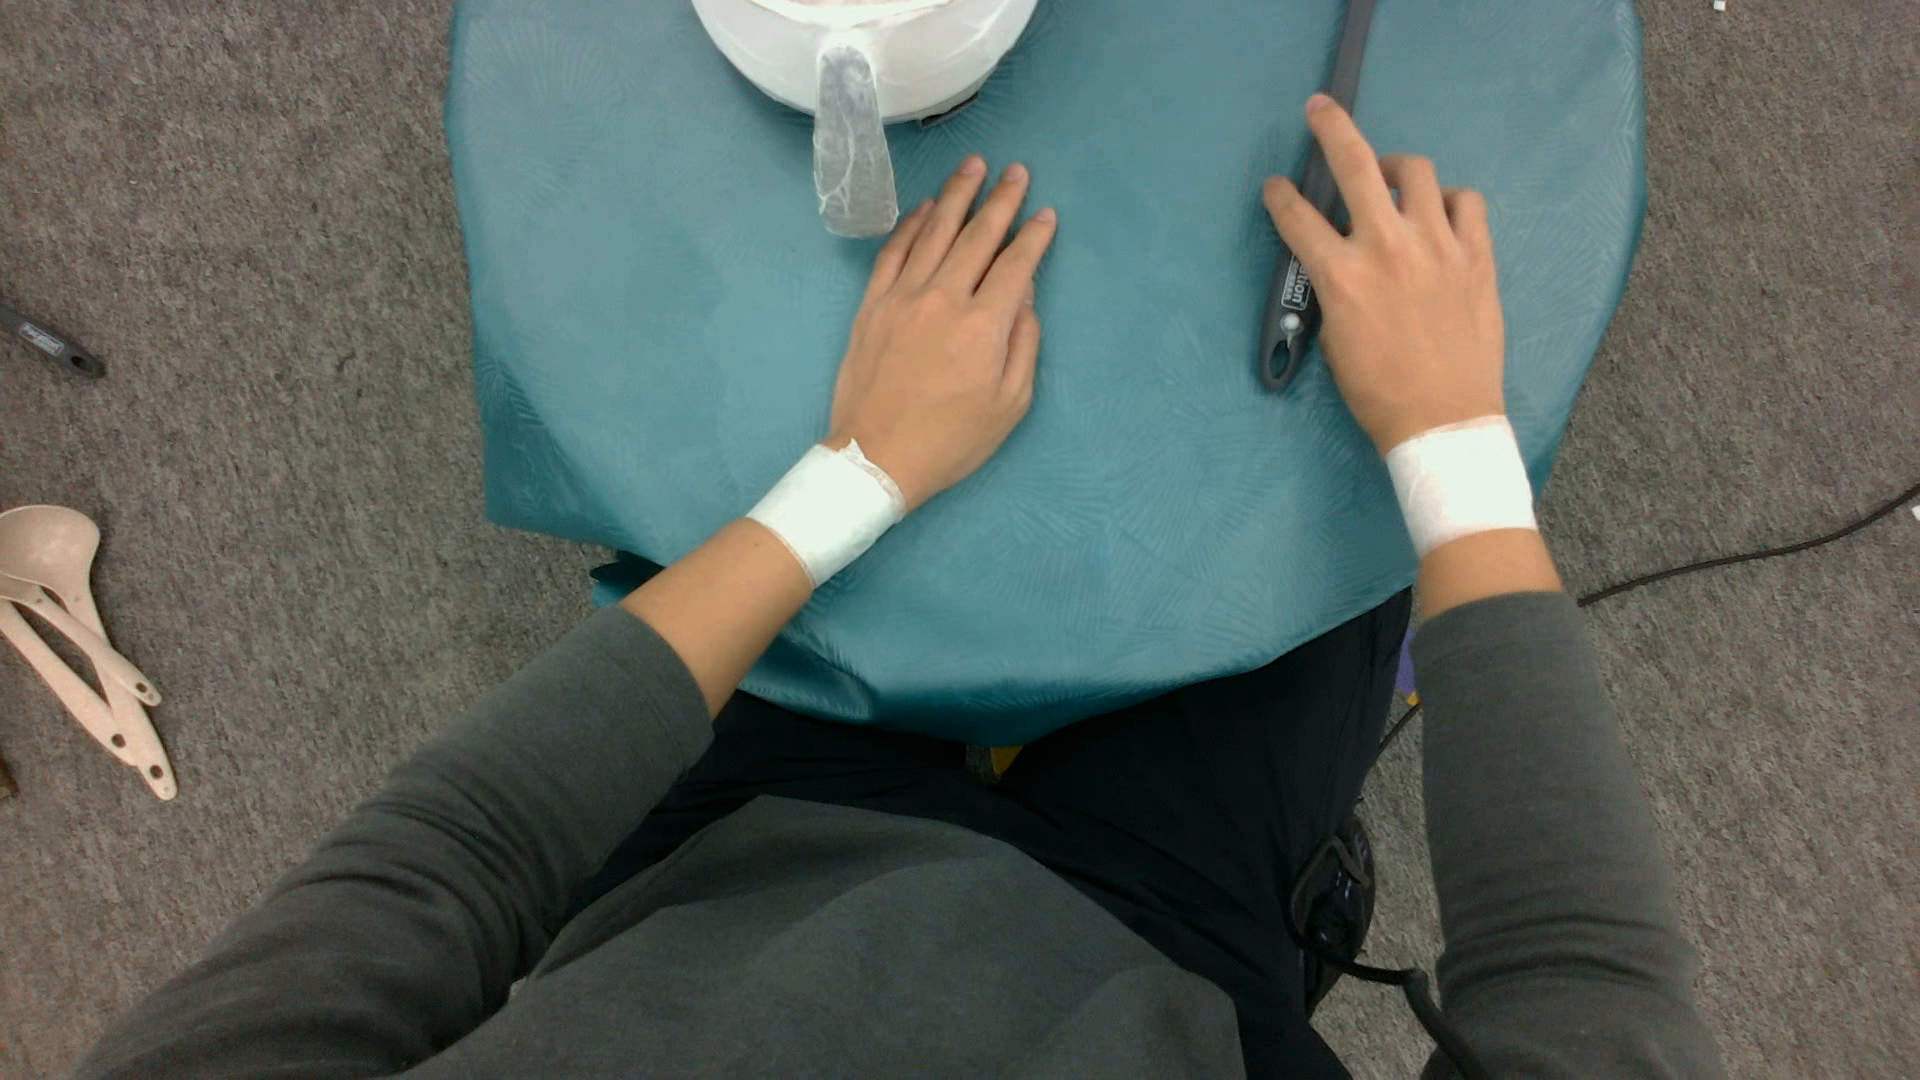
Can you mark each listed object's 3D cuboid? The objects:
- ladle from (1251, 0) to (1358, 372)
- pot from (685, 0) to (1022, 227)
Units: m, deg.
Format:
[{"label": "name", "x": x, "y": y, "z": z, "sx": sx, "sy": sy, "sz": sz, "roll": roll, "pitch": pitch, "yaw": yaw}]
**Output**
[{"label": "ladle", "x": 0.185, "y": -0.237, "z": 0.665, "sx": 0.086, "sy": 0.064, "sz": 0.314, "roll": 13, "pitch": 86, "yaw": 4}, {"label": "pot", "x": -0.051, "y": -0.268, "z": 0.625, "sx": 0.179, "sy": 0.136, "sz": 0.234, "roll": 0, "pitch": 87, "yaw": -1}]
